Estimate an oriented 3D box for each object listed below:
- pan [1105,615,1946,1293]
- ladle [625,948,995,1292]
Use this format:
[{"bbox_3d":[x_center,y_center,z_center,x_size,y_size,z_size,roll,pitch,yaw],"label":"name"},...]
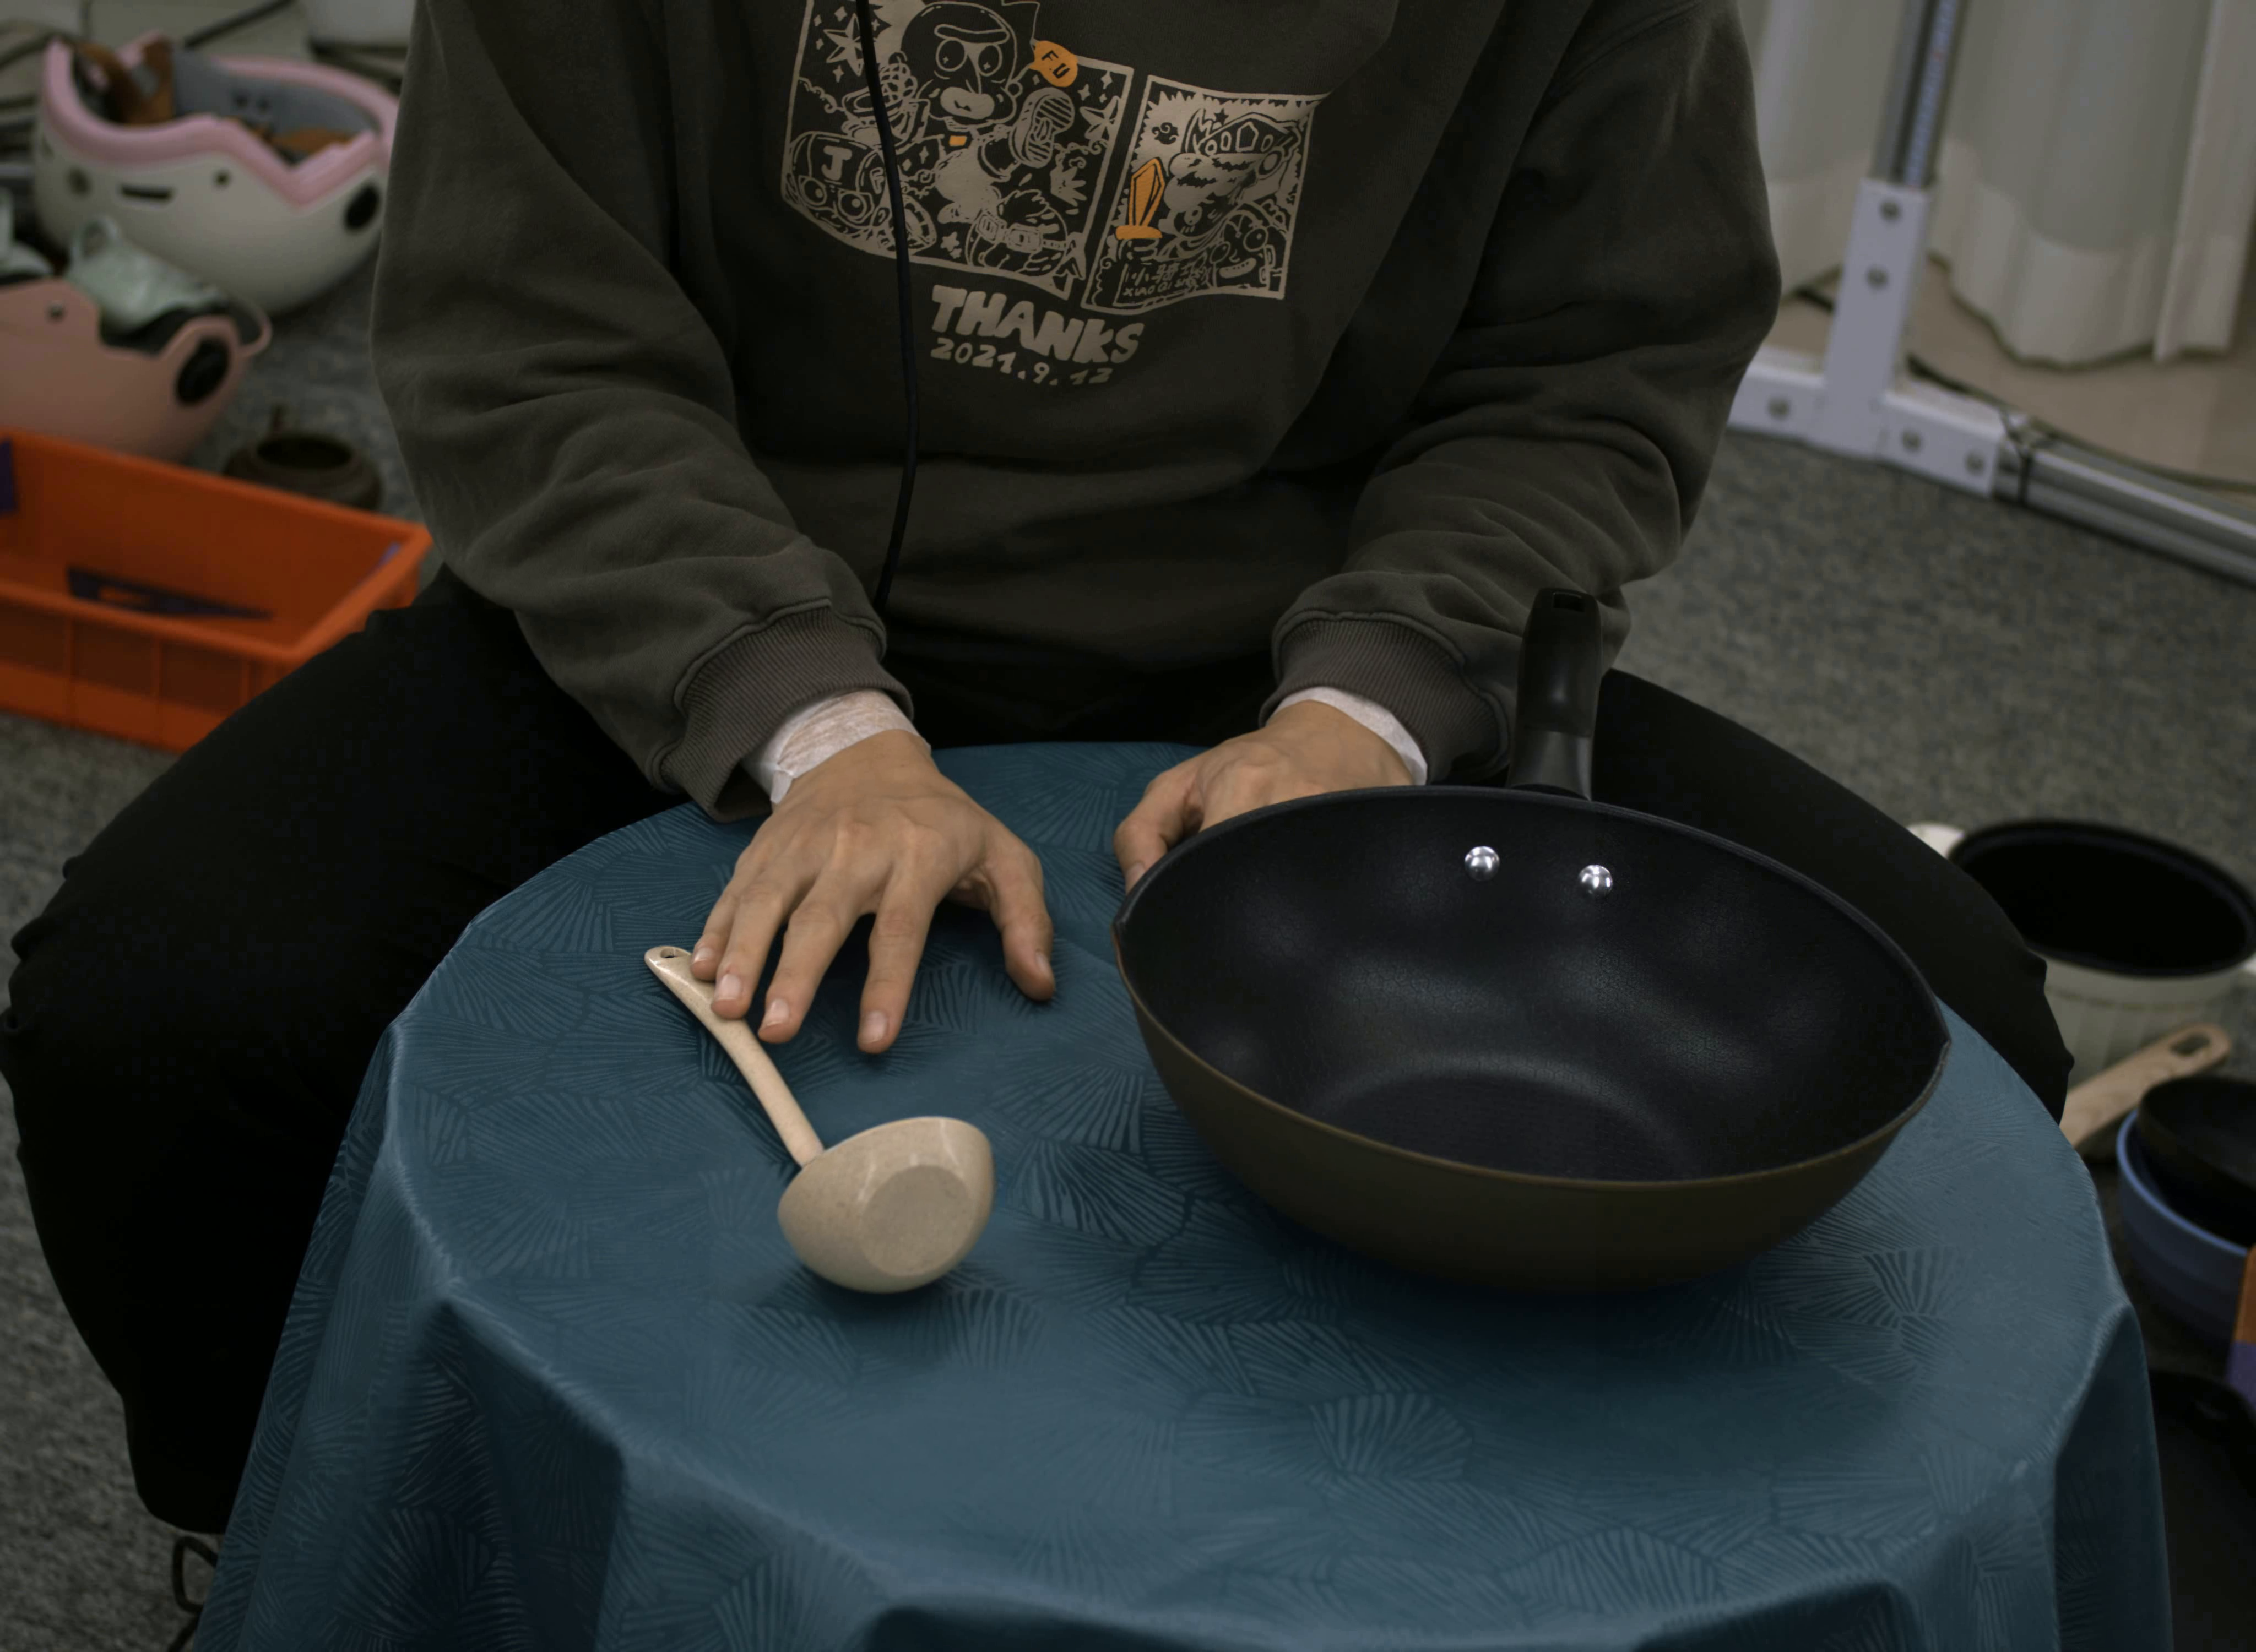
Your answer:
[{"bbox_3d":[0.141,0.045,1.900,0.287,0.086,0.465,8,25,4],"label":"pan"},{"bbox_3d":[-0.120,0.072,1.799,0.072,0.072,0.257,-11,31,-23],"label":"ladle"}]
